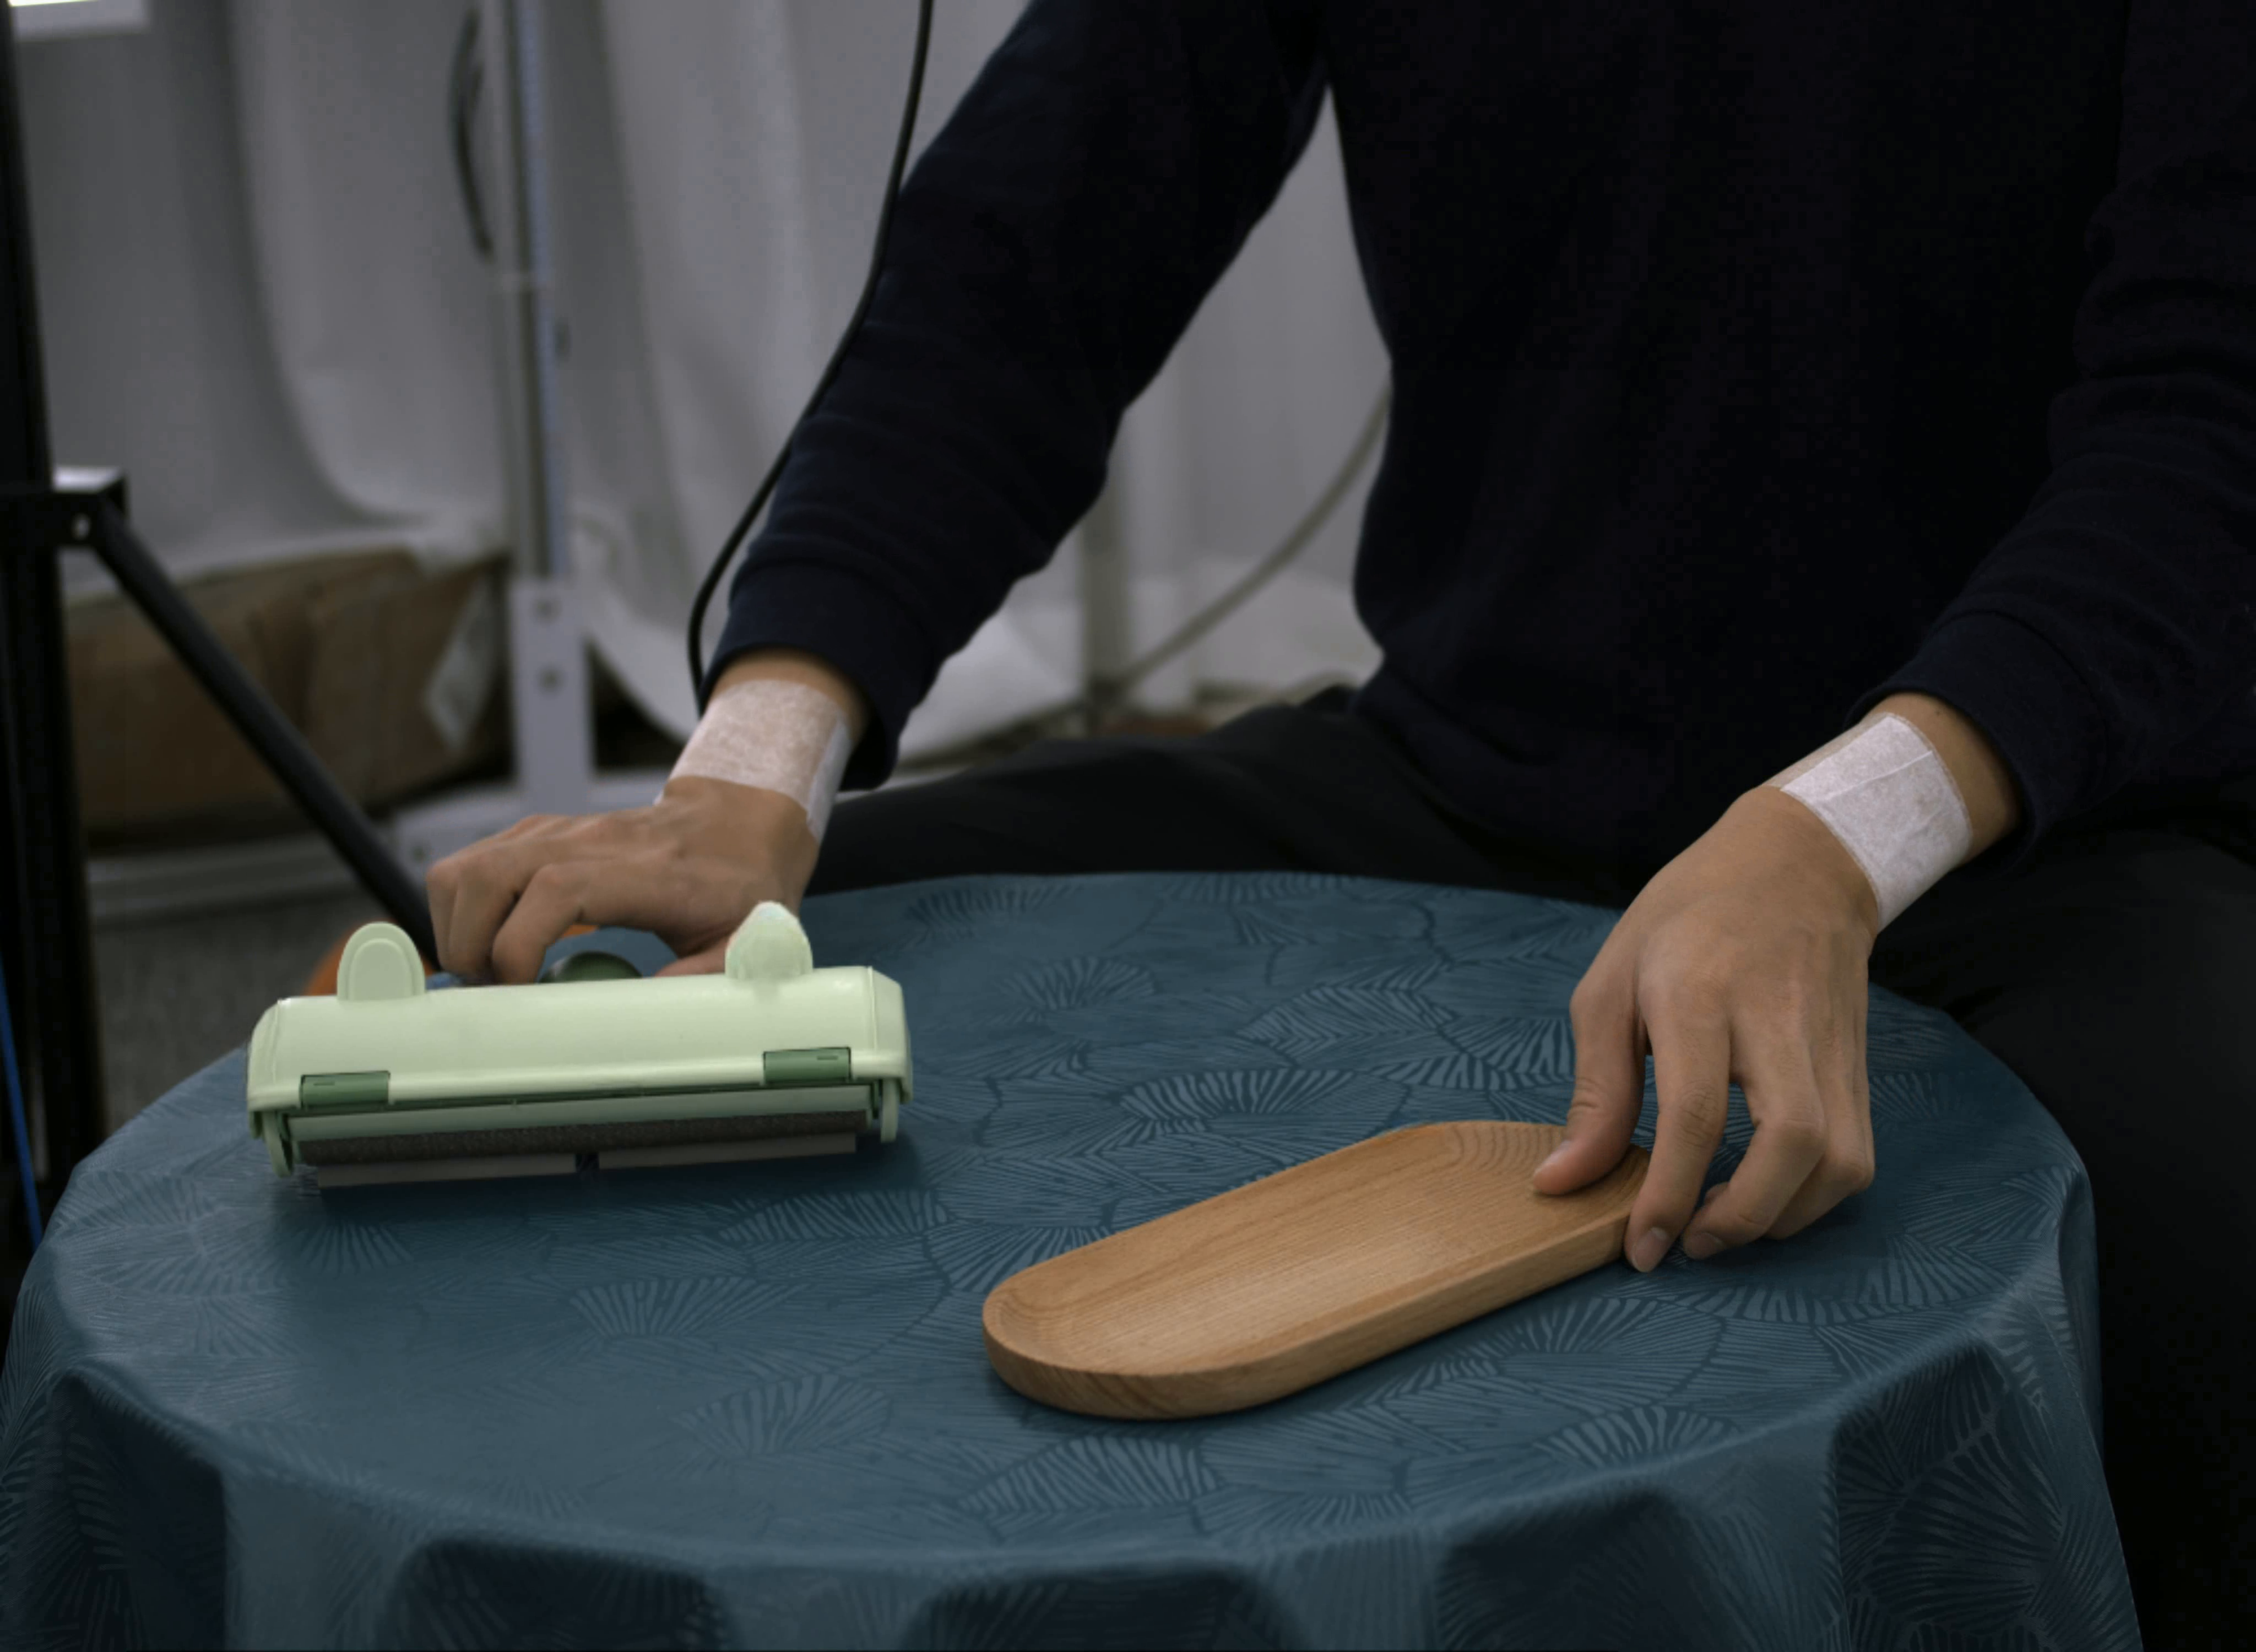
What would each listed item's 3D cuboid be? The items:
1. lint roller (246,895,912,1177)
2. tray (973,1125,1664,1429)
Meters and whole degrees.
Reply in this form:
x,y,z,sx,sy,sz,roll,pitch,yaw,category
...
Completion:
x,y,z,sx,sy,sz,roll,pitch,yaw,category
-0.168,0.046,1.648,0.197,0.082,0.185,-3,21,-3,lint roller
0.056,0.123,1.465,0.226,0.020,0.104,-19,21,-40,tray
